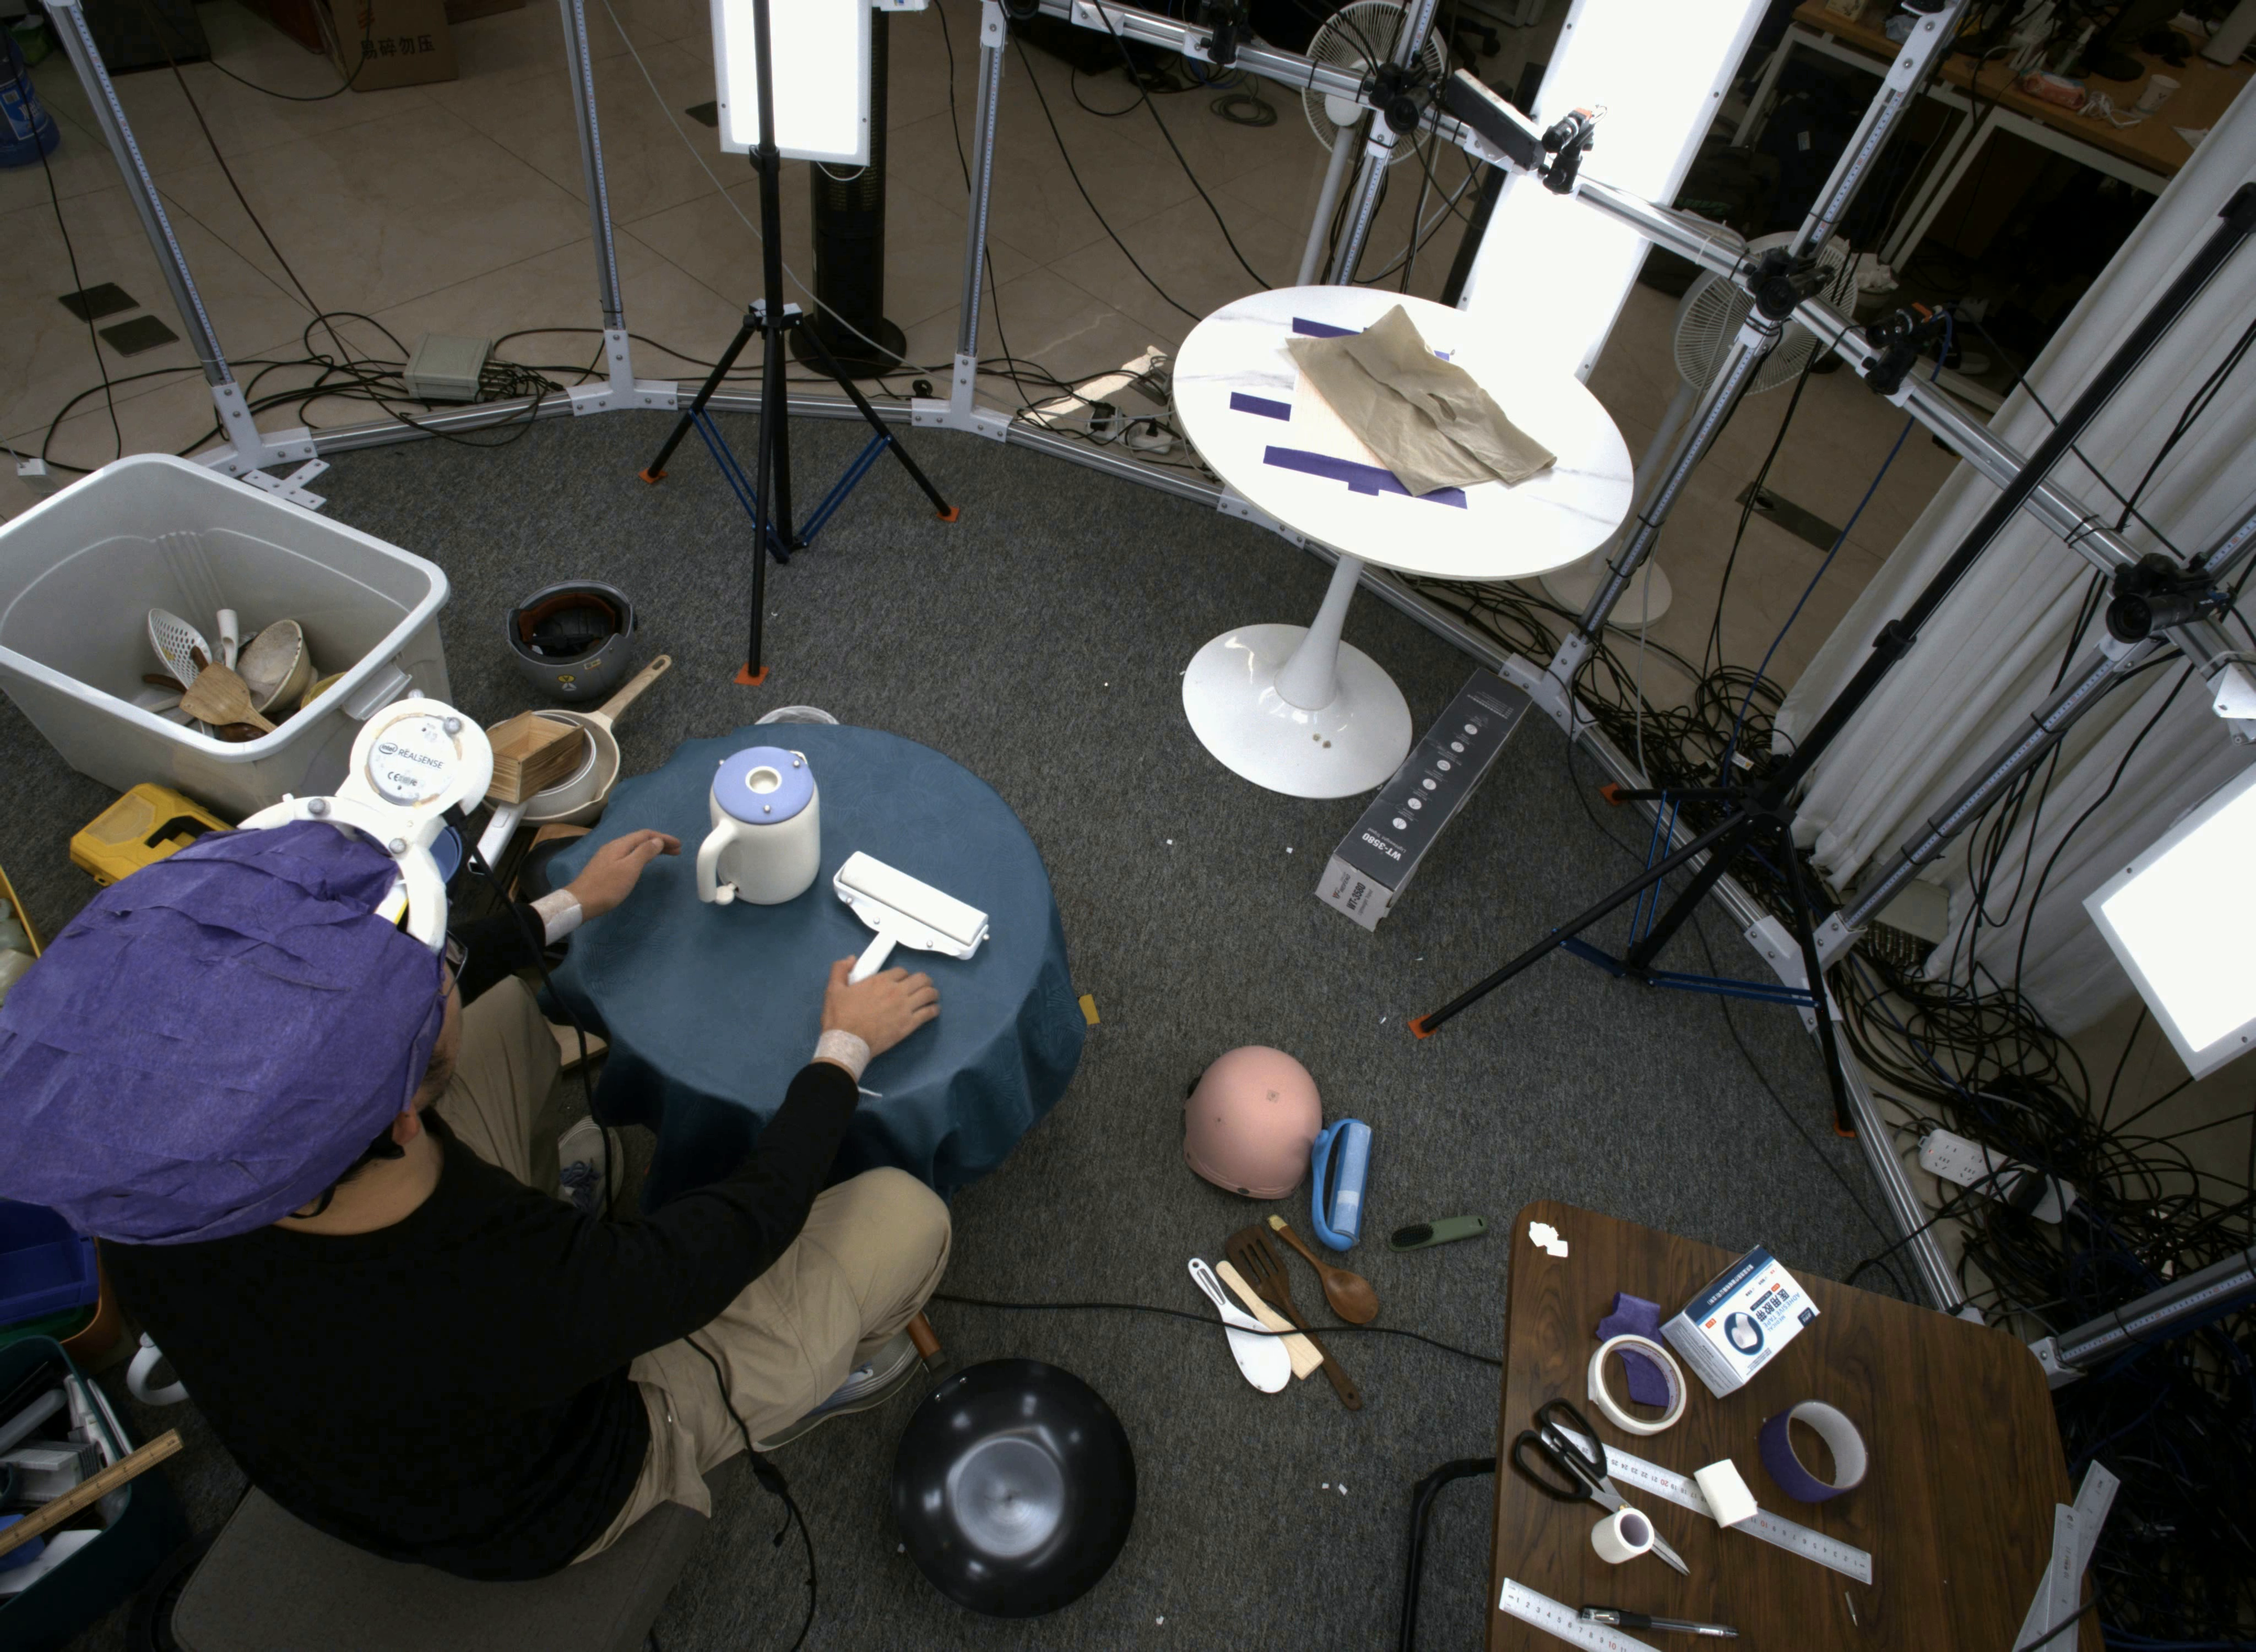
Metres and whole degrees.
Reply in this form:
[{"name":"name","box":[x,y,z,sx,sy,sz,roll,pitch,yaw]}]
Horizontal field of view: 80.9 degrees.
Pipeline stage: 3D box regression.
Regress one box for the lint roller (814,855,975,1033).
[{"name":"lint roller","box":[-0.323,0.155,1.602,0.200,0.049,0.224,25,53,3]}]

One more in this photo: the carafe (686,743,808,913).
[{"name":"carafe","box":[-0.476,0.015,1.582,0.130,0.186,0.190,27,54,10]}]
